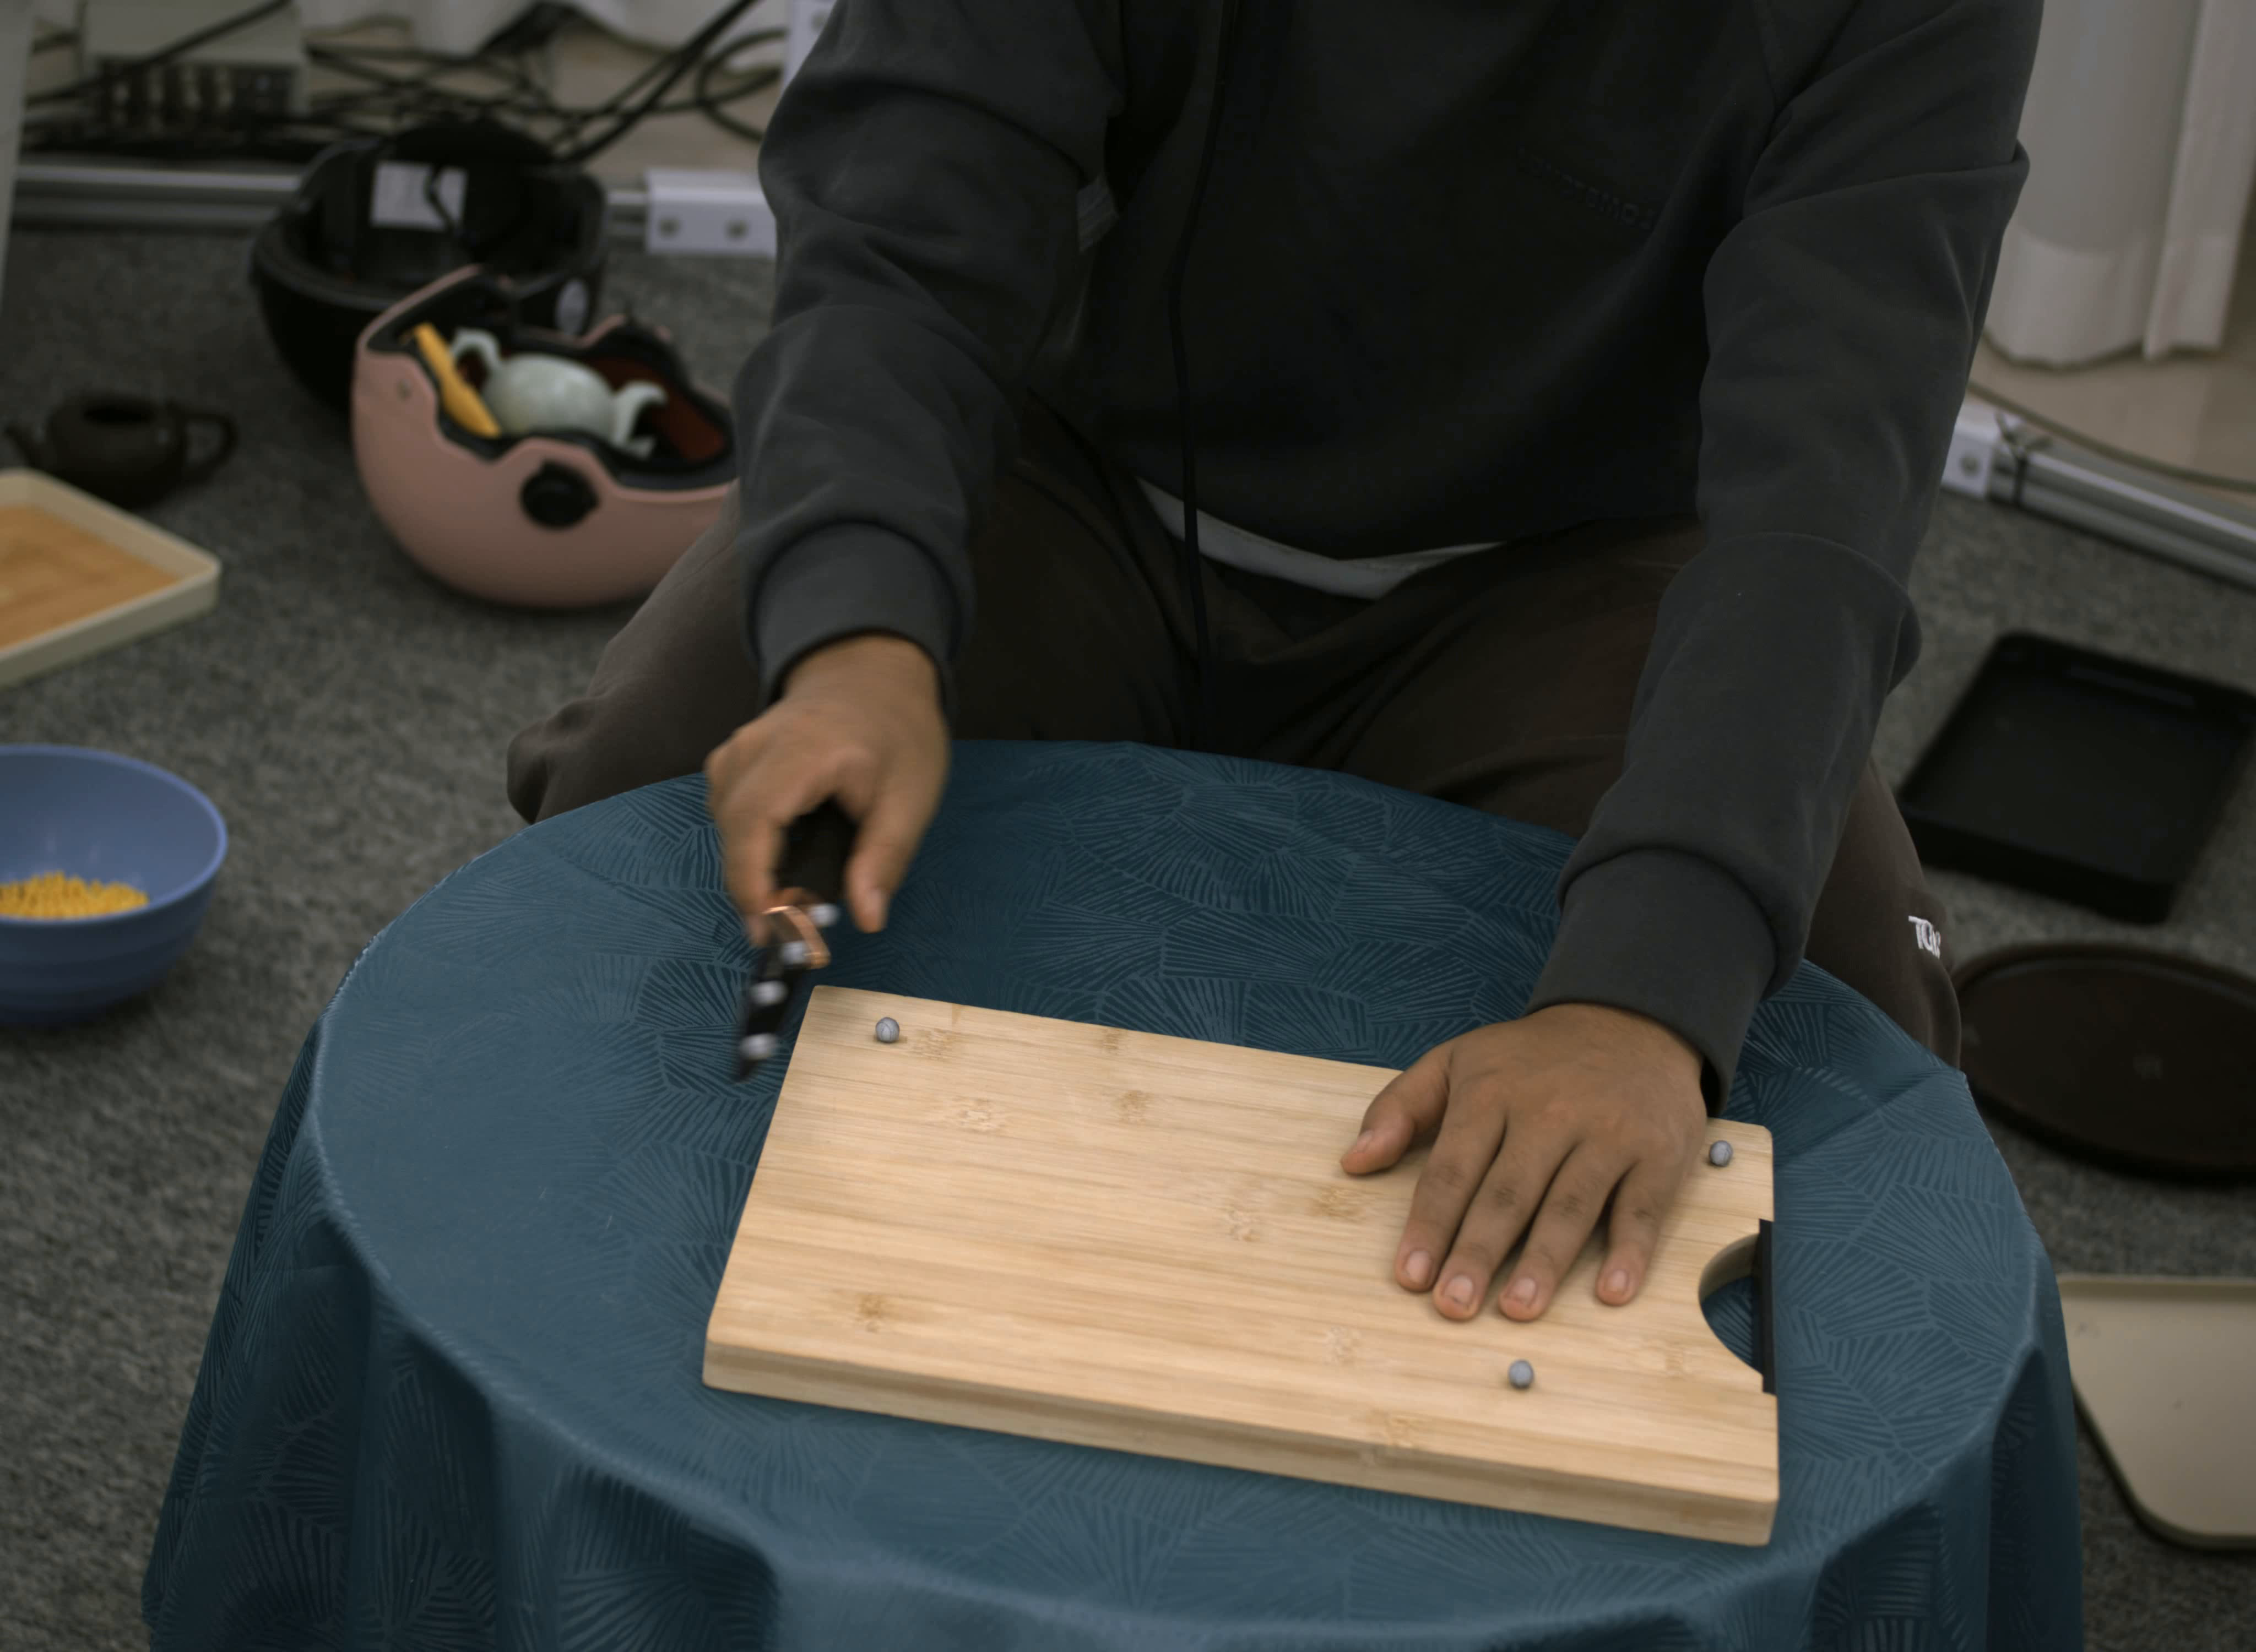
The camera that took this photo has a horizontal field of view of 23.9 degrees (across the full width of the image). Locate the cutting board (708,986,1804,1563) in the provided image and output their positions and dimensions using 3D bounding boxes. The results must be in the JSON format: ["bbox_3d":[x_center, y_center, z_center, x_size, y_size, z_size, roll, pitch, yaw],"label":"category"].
[{"bbox_3d":[0.050,0.142,1.763,0.348,0.023,0.252,8,27,2],"label":"cutting board"}]

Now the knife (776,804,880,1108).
[{"bbox_3d":[-0.105,0.042,1.818,0.017,0.026,0.226,-34,16,17],"label":"knife"}]
